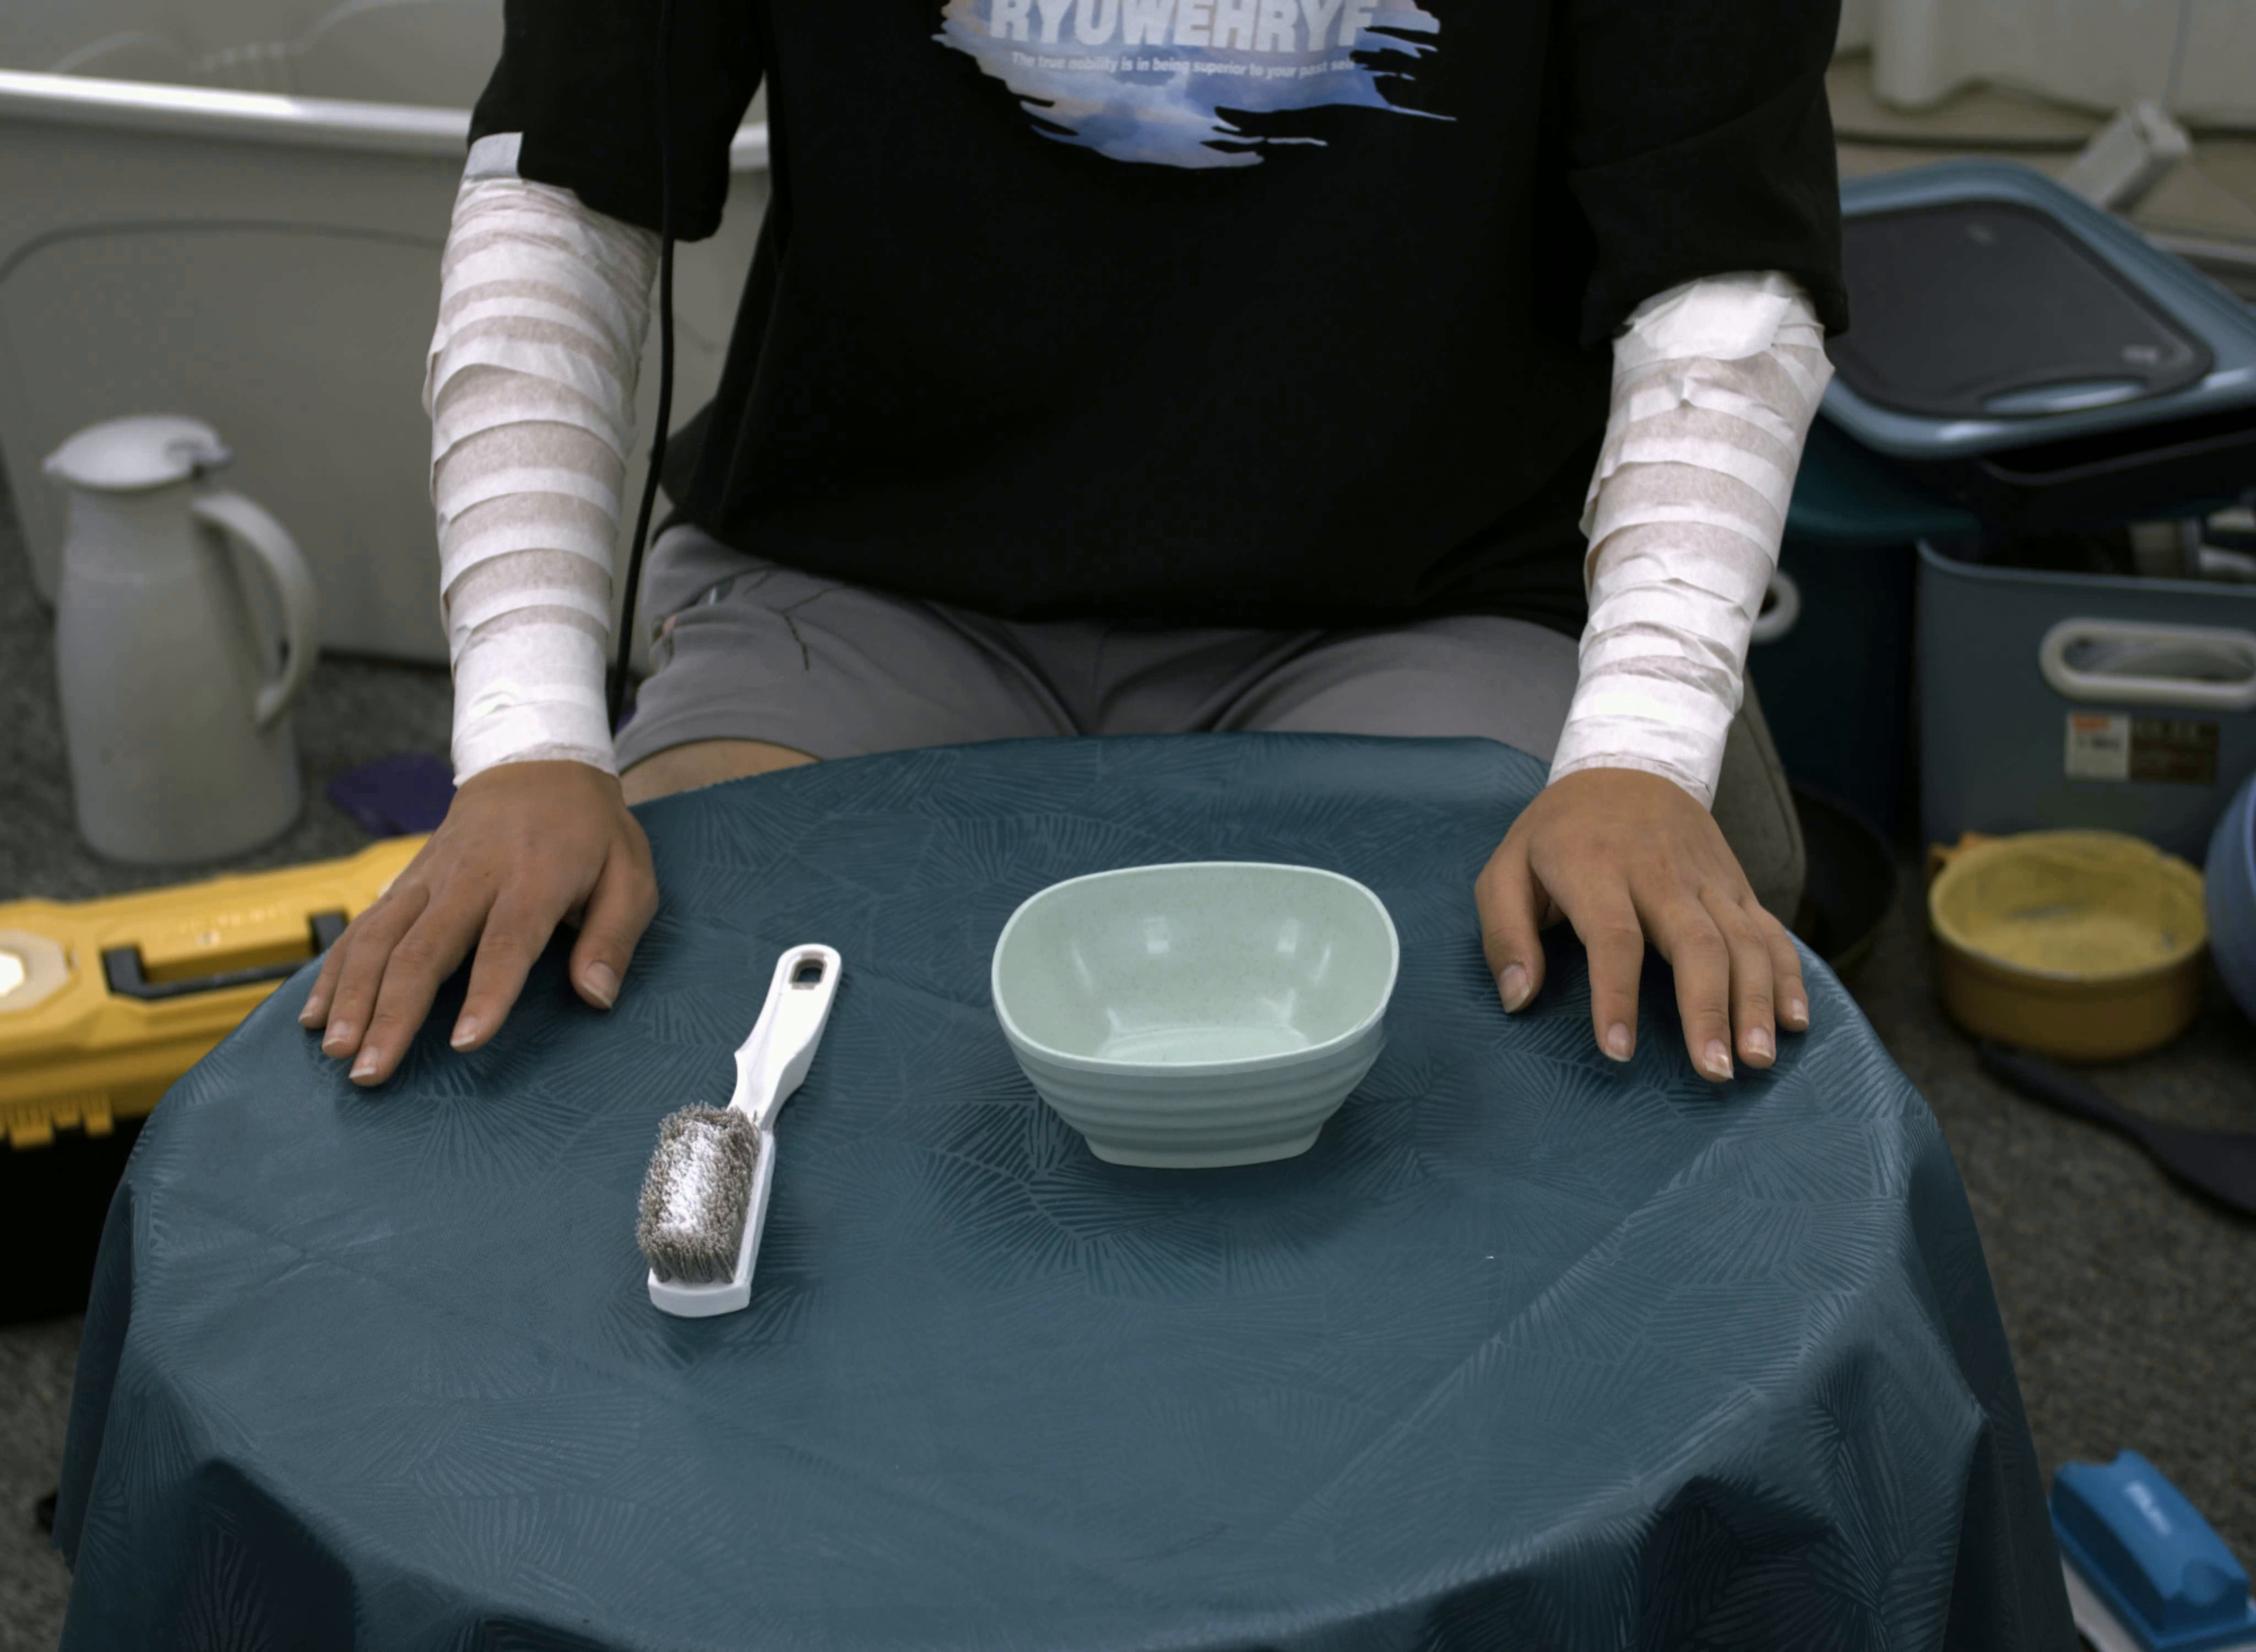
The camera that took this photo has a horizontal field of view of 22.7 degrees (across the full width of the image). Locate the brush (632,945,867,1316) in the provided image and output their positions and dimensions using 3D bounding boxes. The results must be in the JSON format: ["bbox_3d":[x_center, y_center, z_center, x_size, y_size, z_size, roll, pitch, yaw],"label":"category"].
[{"bbox_3d":[-0.124,0.085,1.891,0.034,0.050,0.248,0,27,11],"label":"brush"}]

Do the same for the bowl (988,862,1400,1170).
[{"bbox_3d":[0.023,0.070,1.899,0.151,0.058,0.154,-1,27,1],"label":"bowl"}]
